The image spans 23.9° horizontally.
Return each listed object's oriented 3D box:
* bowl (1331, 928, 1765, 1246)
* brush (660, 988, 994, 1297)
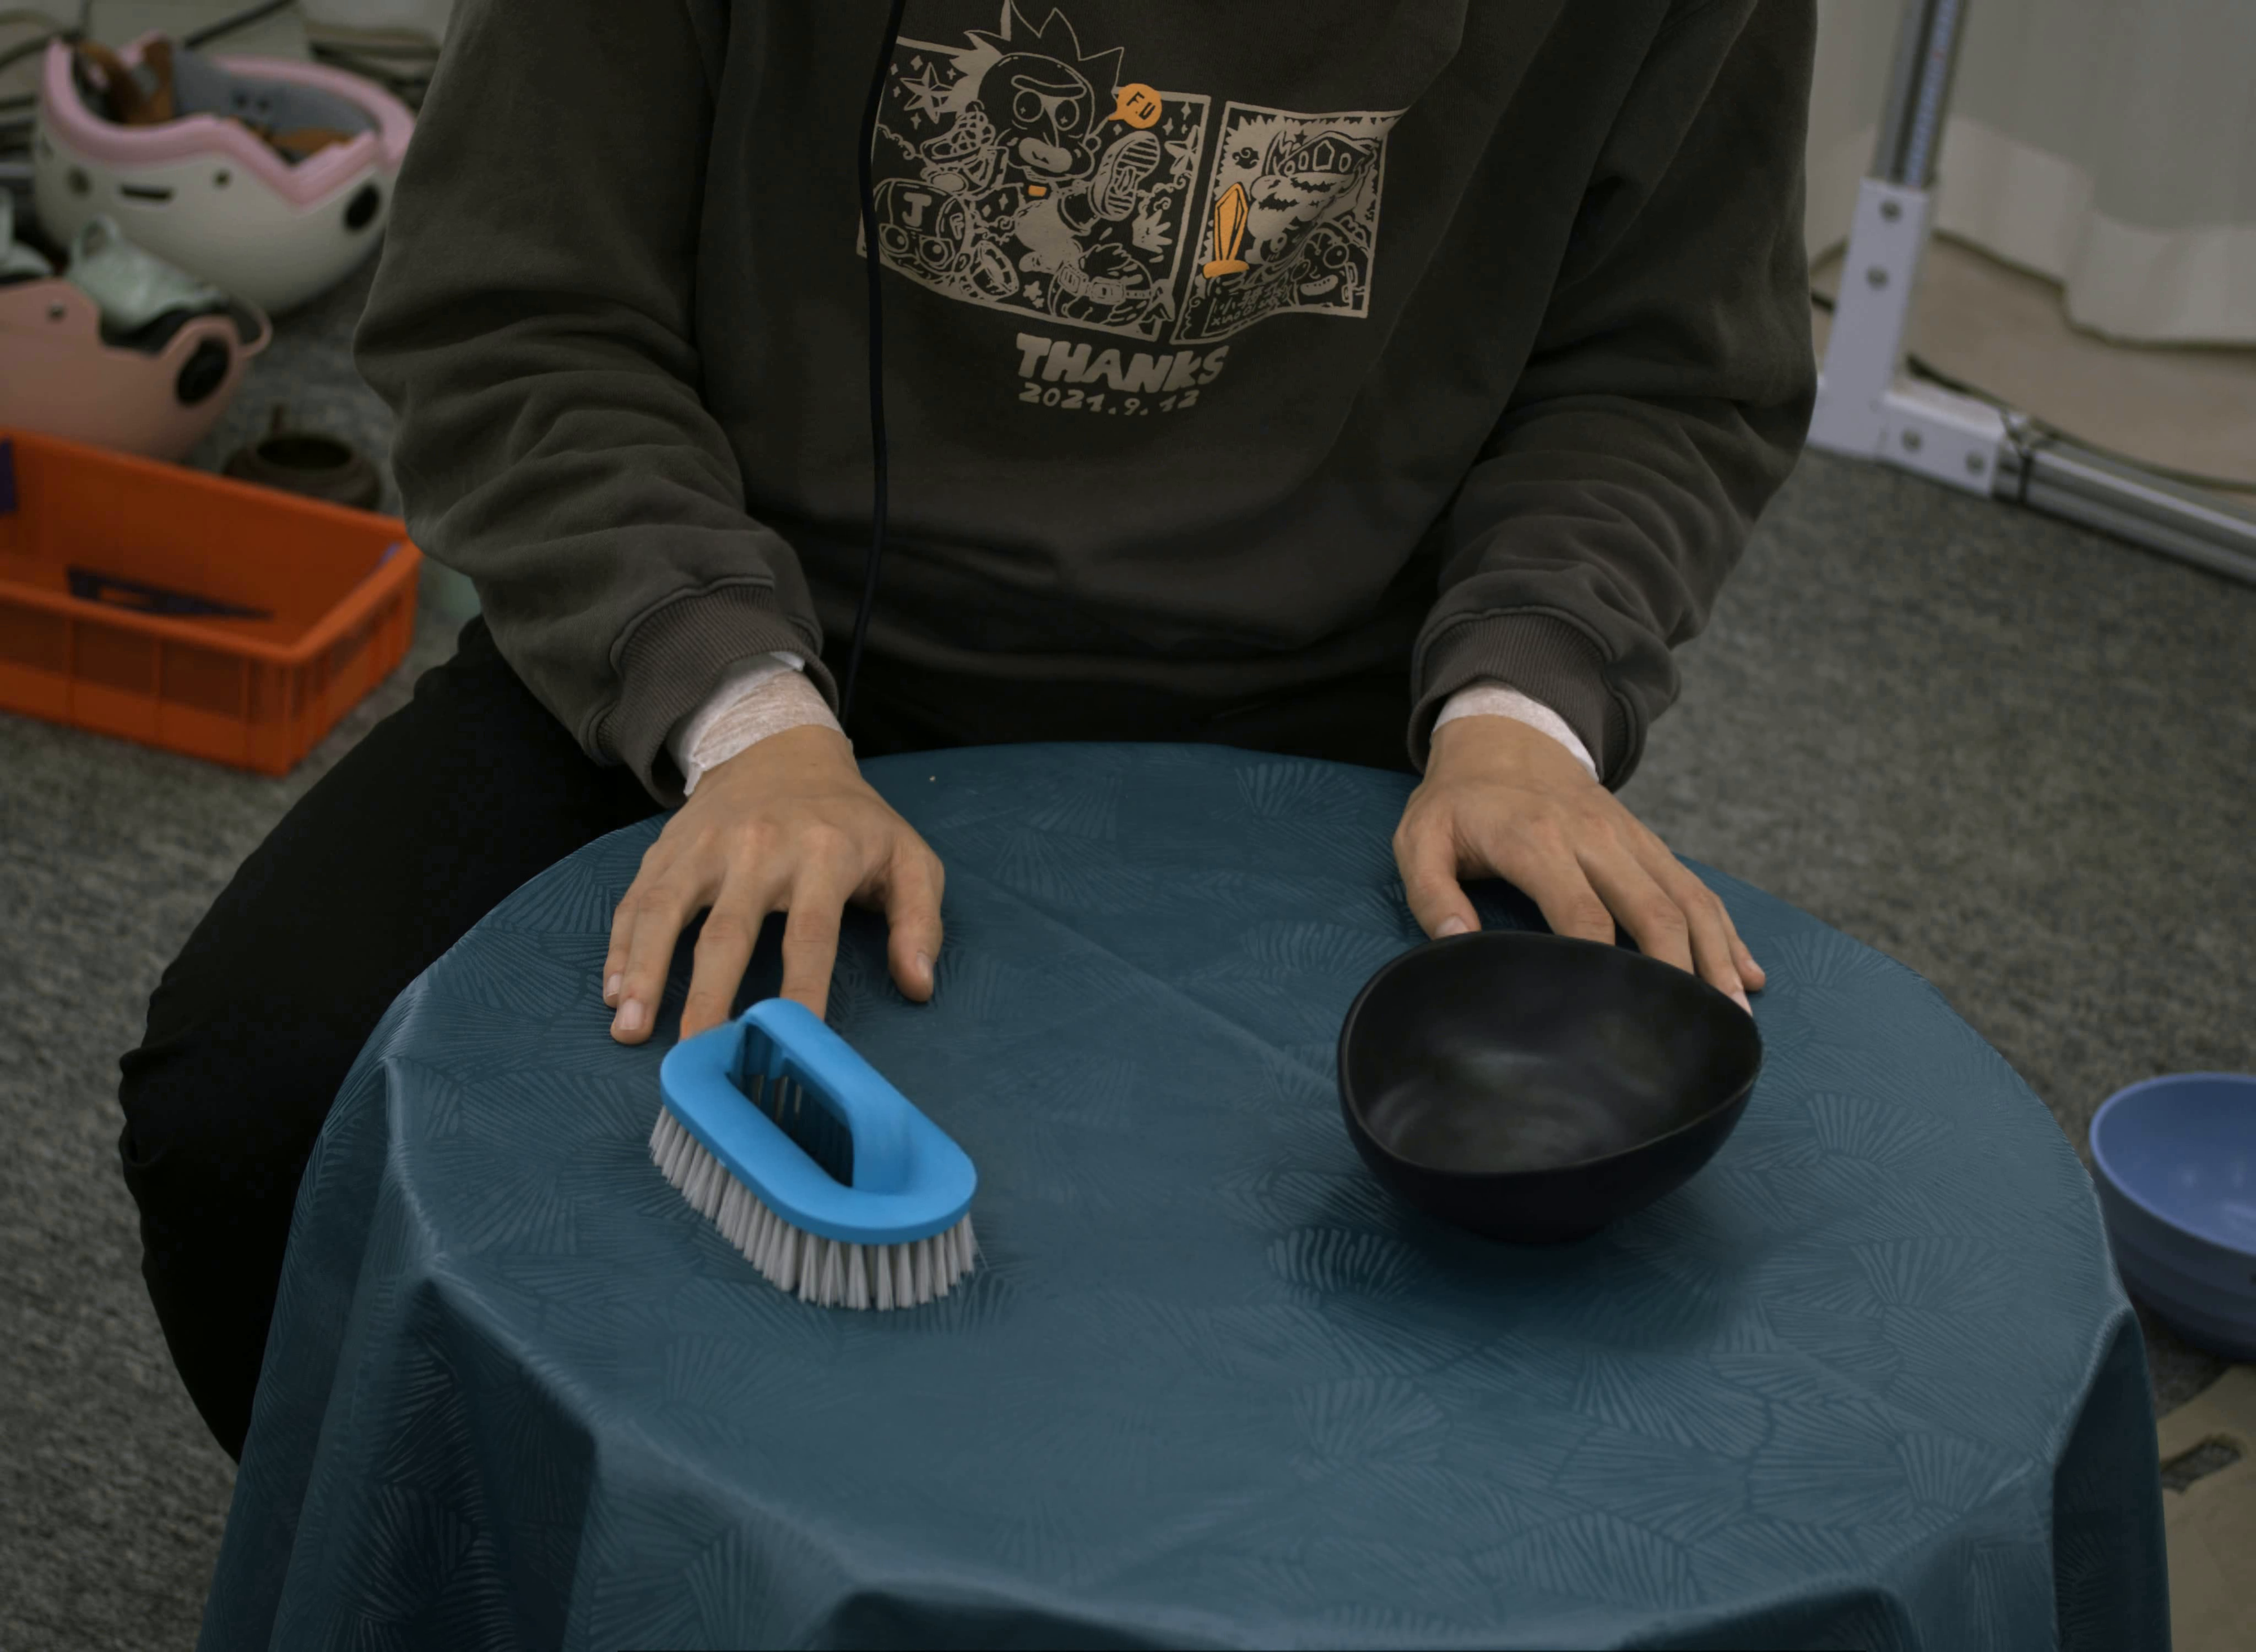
[{"bbox_3d":[0.140,0.099,1.815,0.138,0.066,0.170,22,32,29],"label":"bowl"},{"bbox_3d":[-0.102,0.096,1.763,0.084,0.063,0.143,-15,32,-27],"label":"brush"}]
